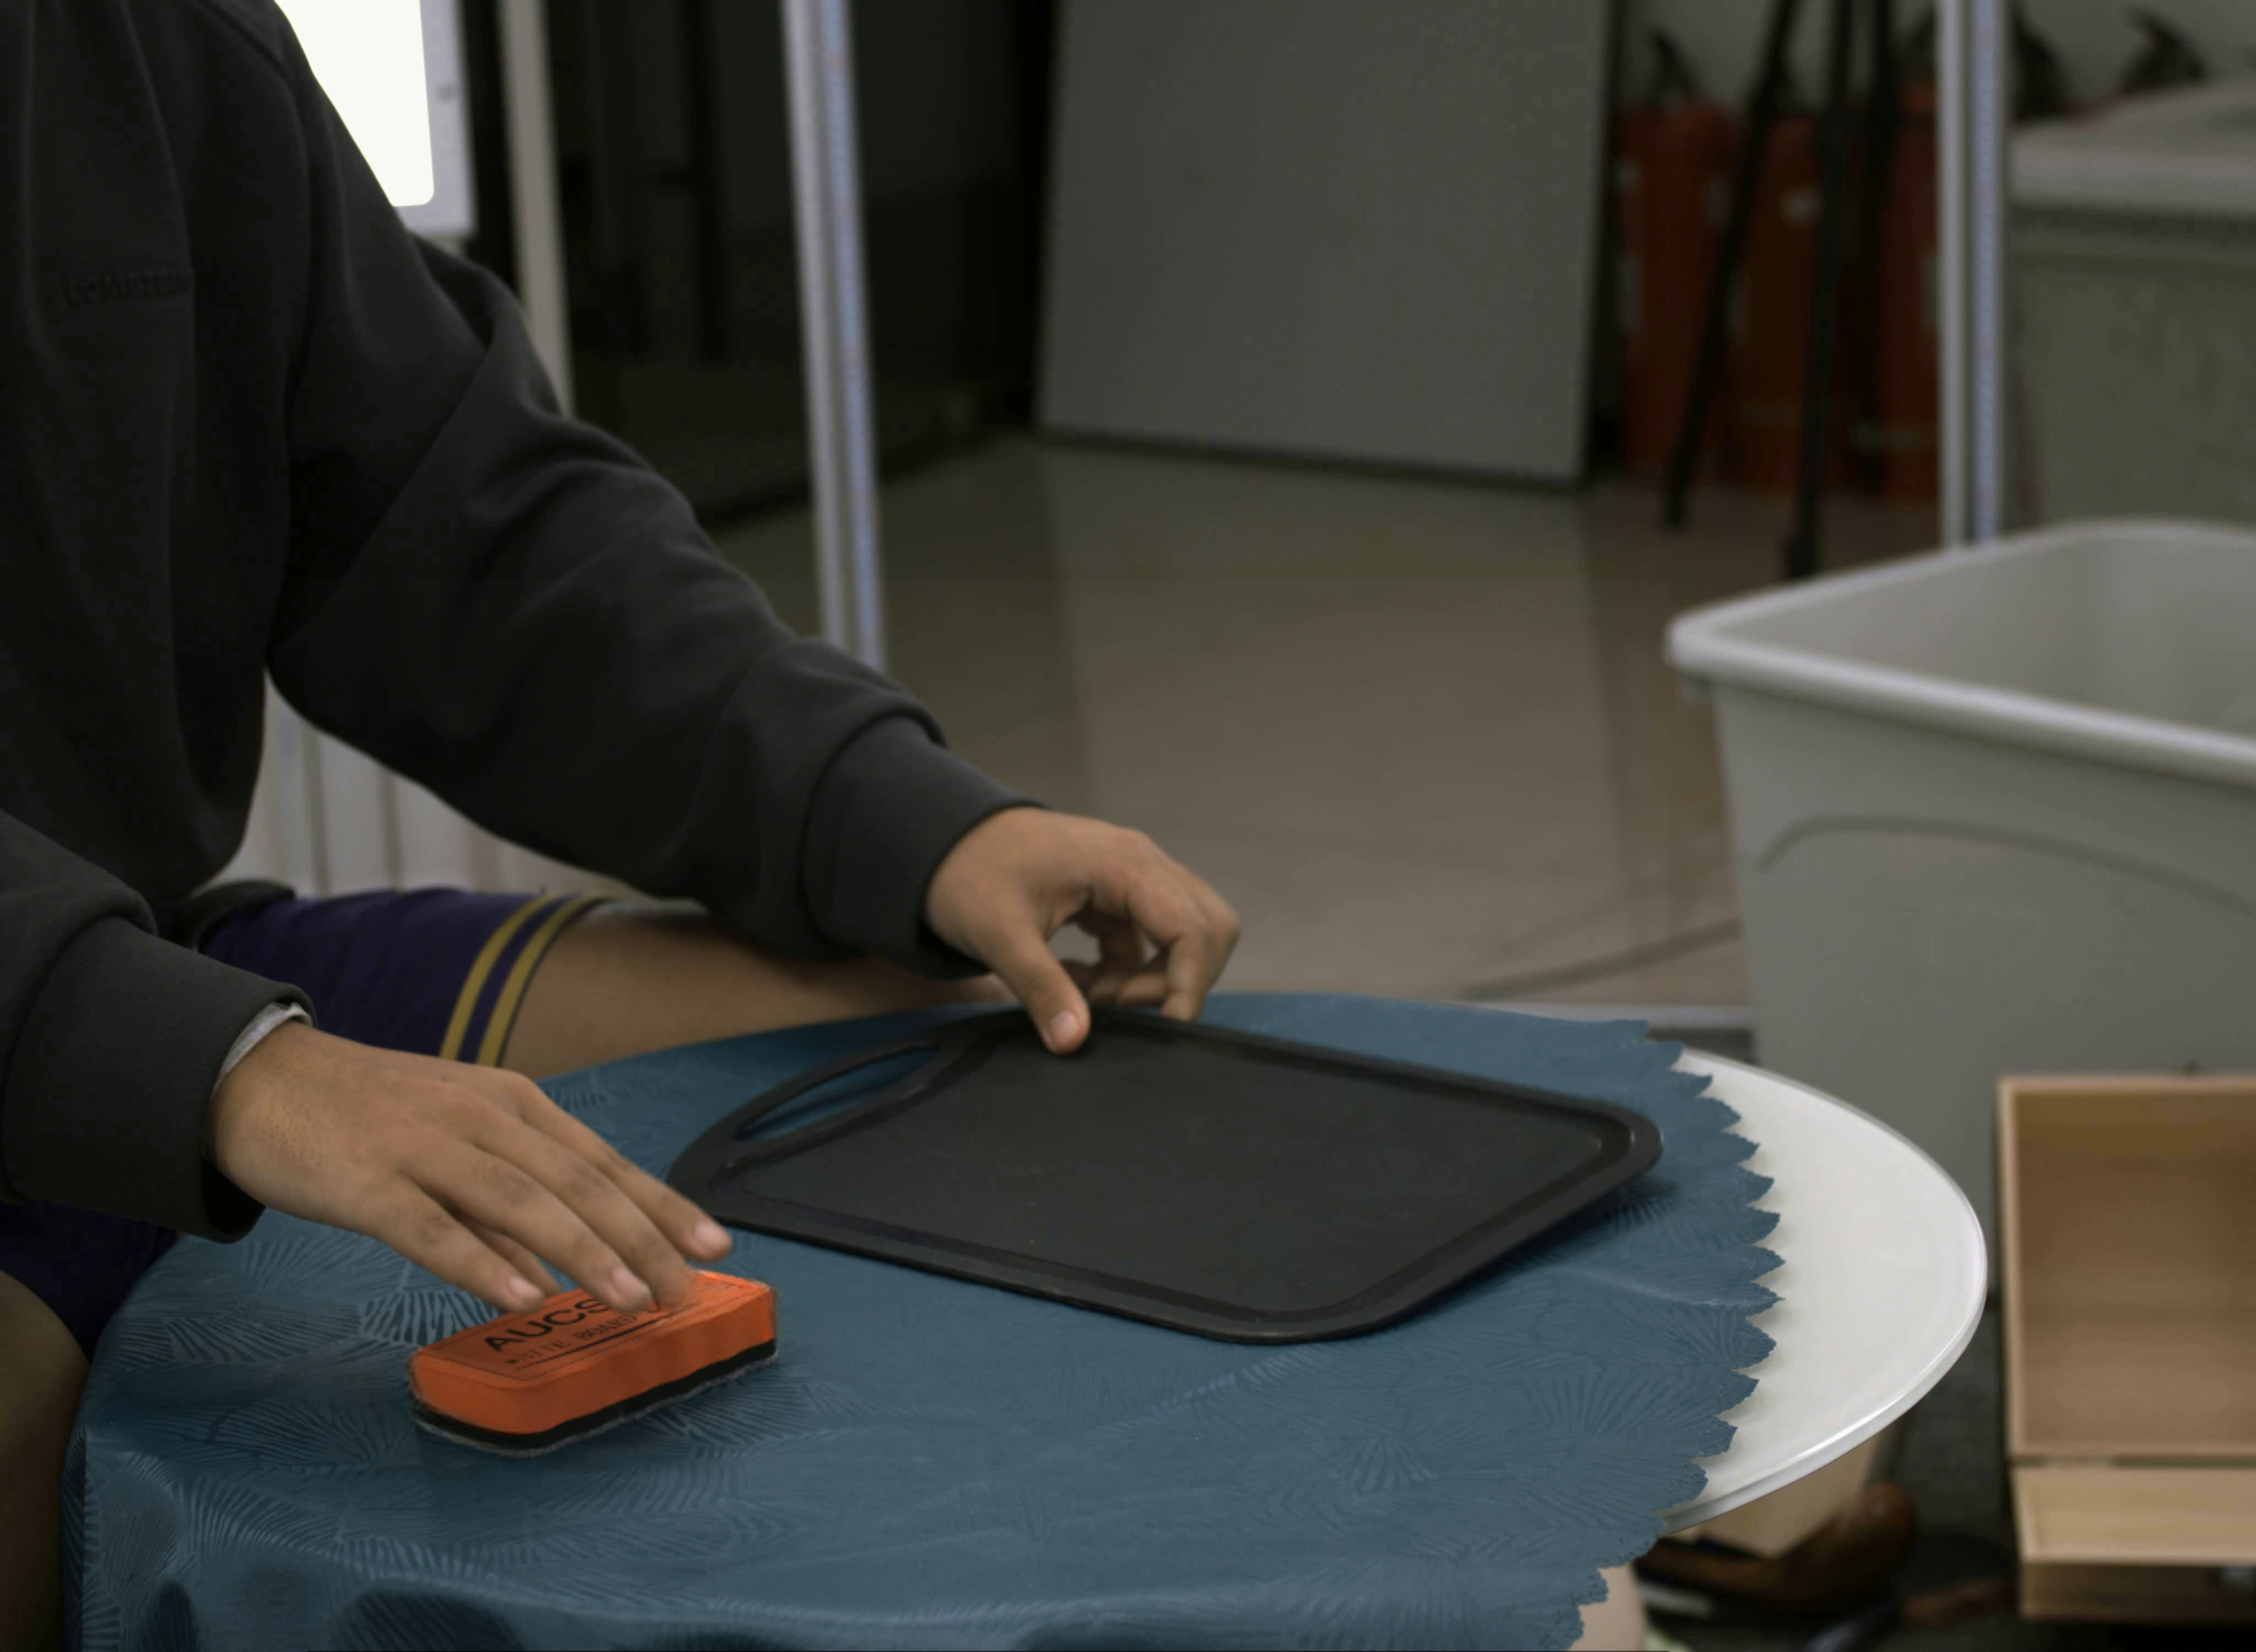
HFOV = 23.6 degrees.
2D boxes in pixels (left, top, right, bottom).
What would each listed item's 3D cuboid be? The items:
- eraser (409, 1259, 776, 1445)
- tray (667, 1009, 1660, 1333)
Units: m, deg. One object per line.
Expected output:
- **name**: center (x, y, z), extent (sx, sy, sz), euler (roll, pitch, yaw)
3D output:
- **eraser**: center (-0.158, 0.156, 1.610), extent (0.059, 0.023, 0.106), euler (8, 17, 42)
- **tray**: center (0.002, 0.108, 1.772), extent (0.328, 0.010, 0.207), euler (8, 23, 42)
